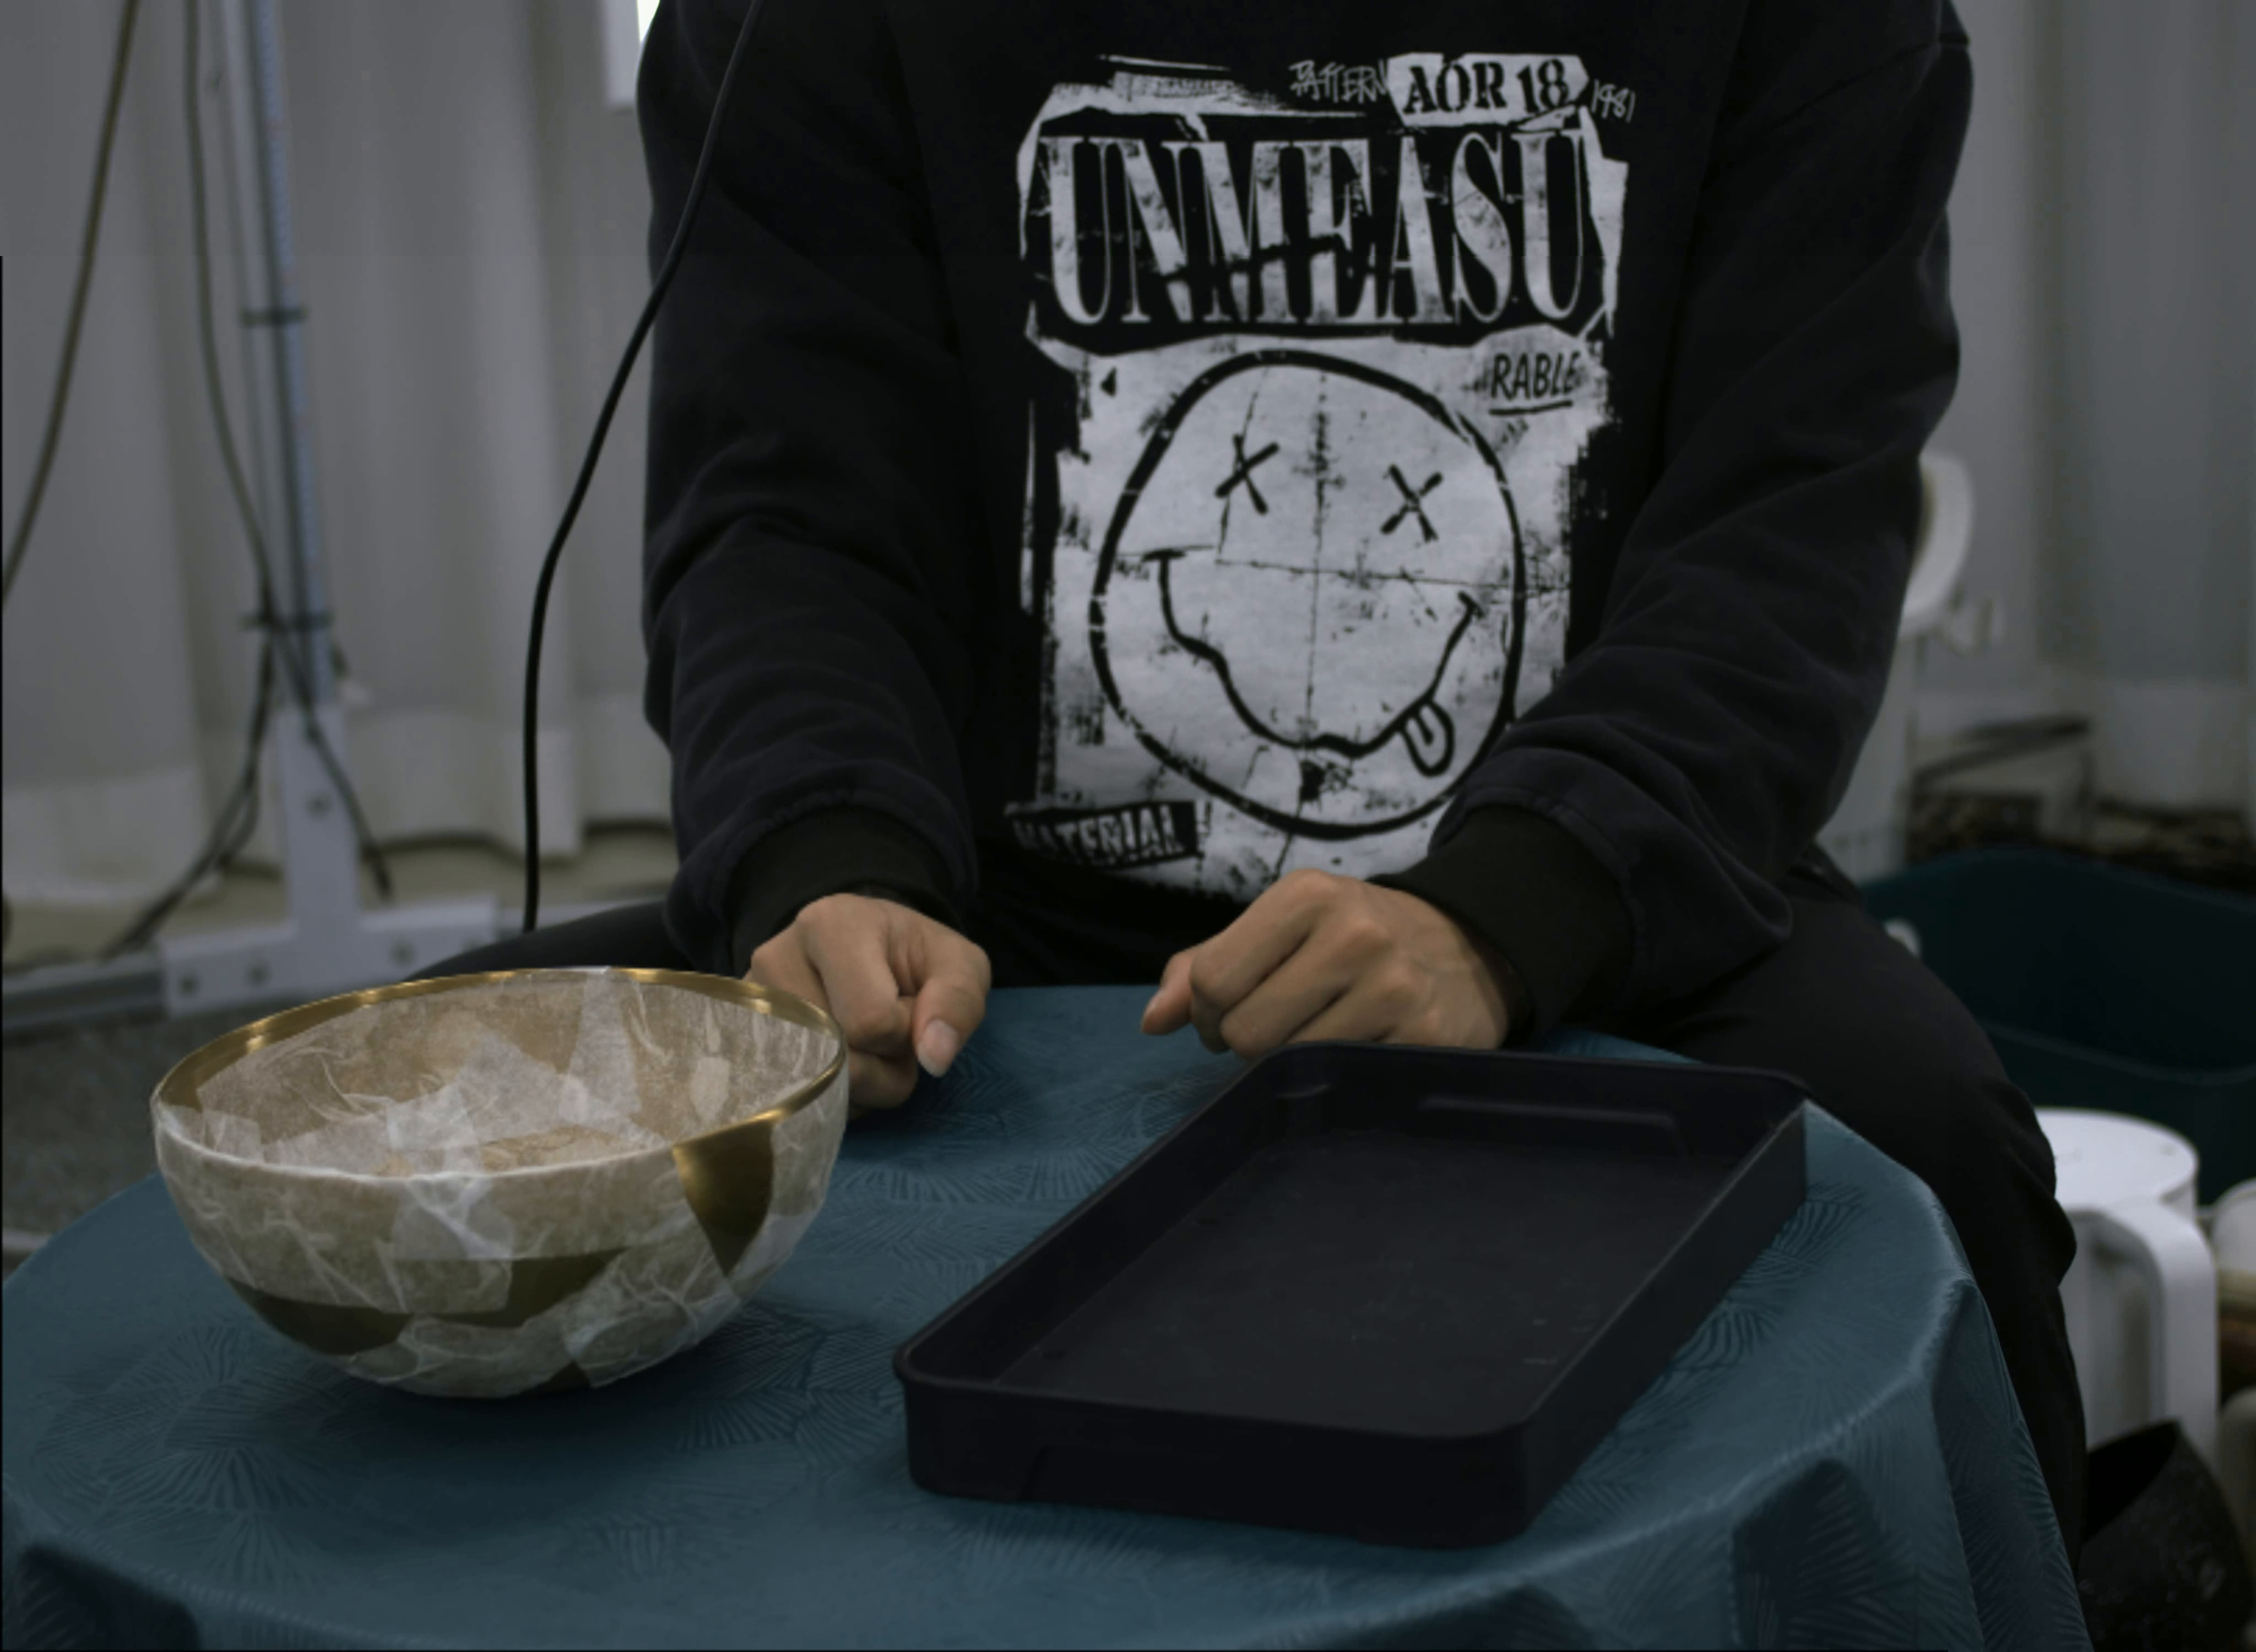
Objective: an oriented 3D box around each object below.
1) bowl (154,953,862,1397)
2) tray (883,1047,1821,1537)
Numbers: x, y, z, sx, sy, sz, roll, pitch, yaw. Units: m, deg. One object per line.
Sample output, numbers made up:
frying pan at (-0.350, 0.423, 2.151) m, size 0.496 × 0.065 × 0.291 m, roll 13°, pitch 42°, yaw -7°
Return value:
bowl at (-0.174, 0.110, 1.587) m, size 0.214 × 0.094 × 0.216 m, roll -4°, pitch 14°, yaw 1°
tray at (0.073, 0.127, 1.578) m, size 0.184 × 0.037 × 0.318 m, roll 2°, pitch 15°, yaw 24°
